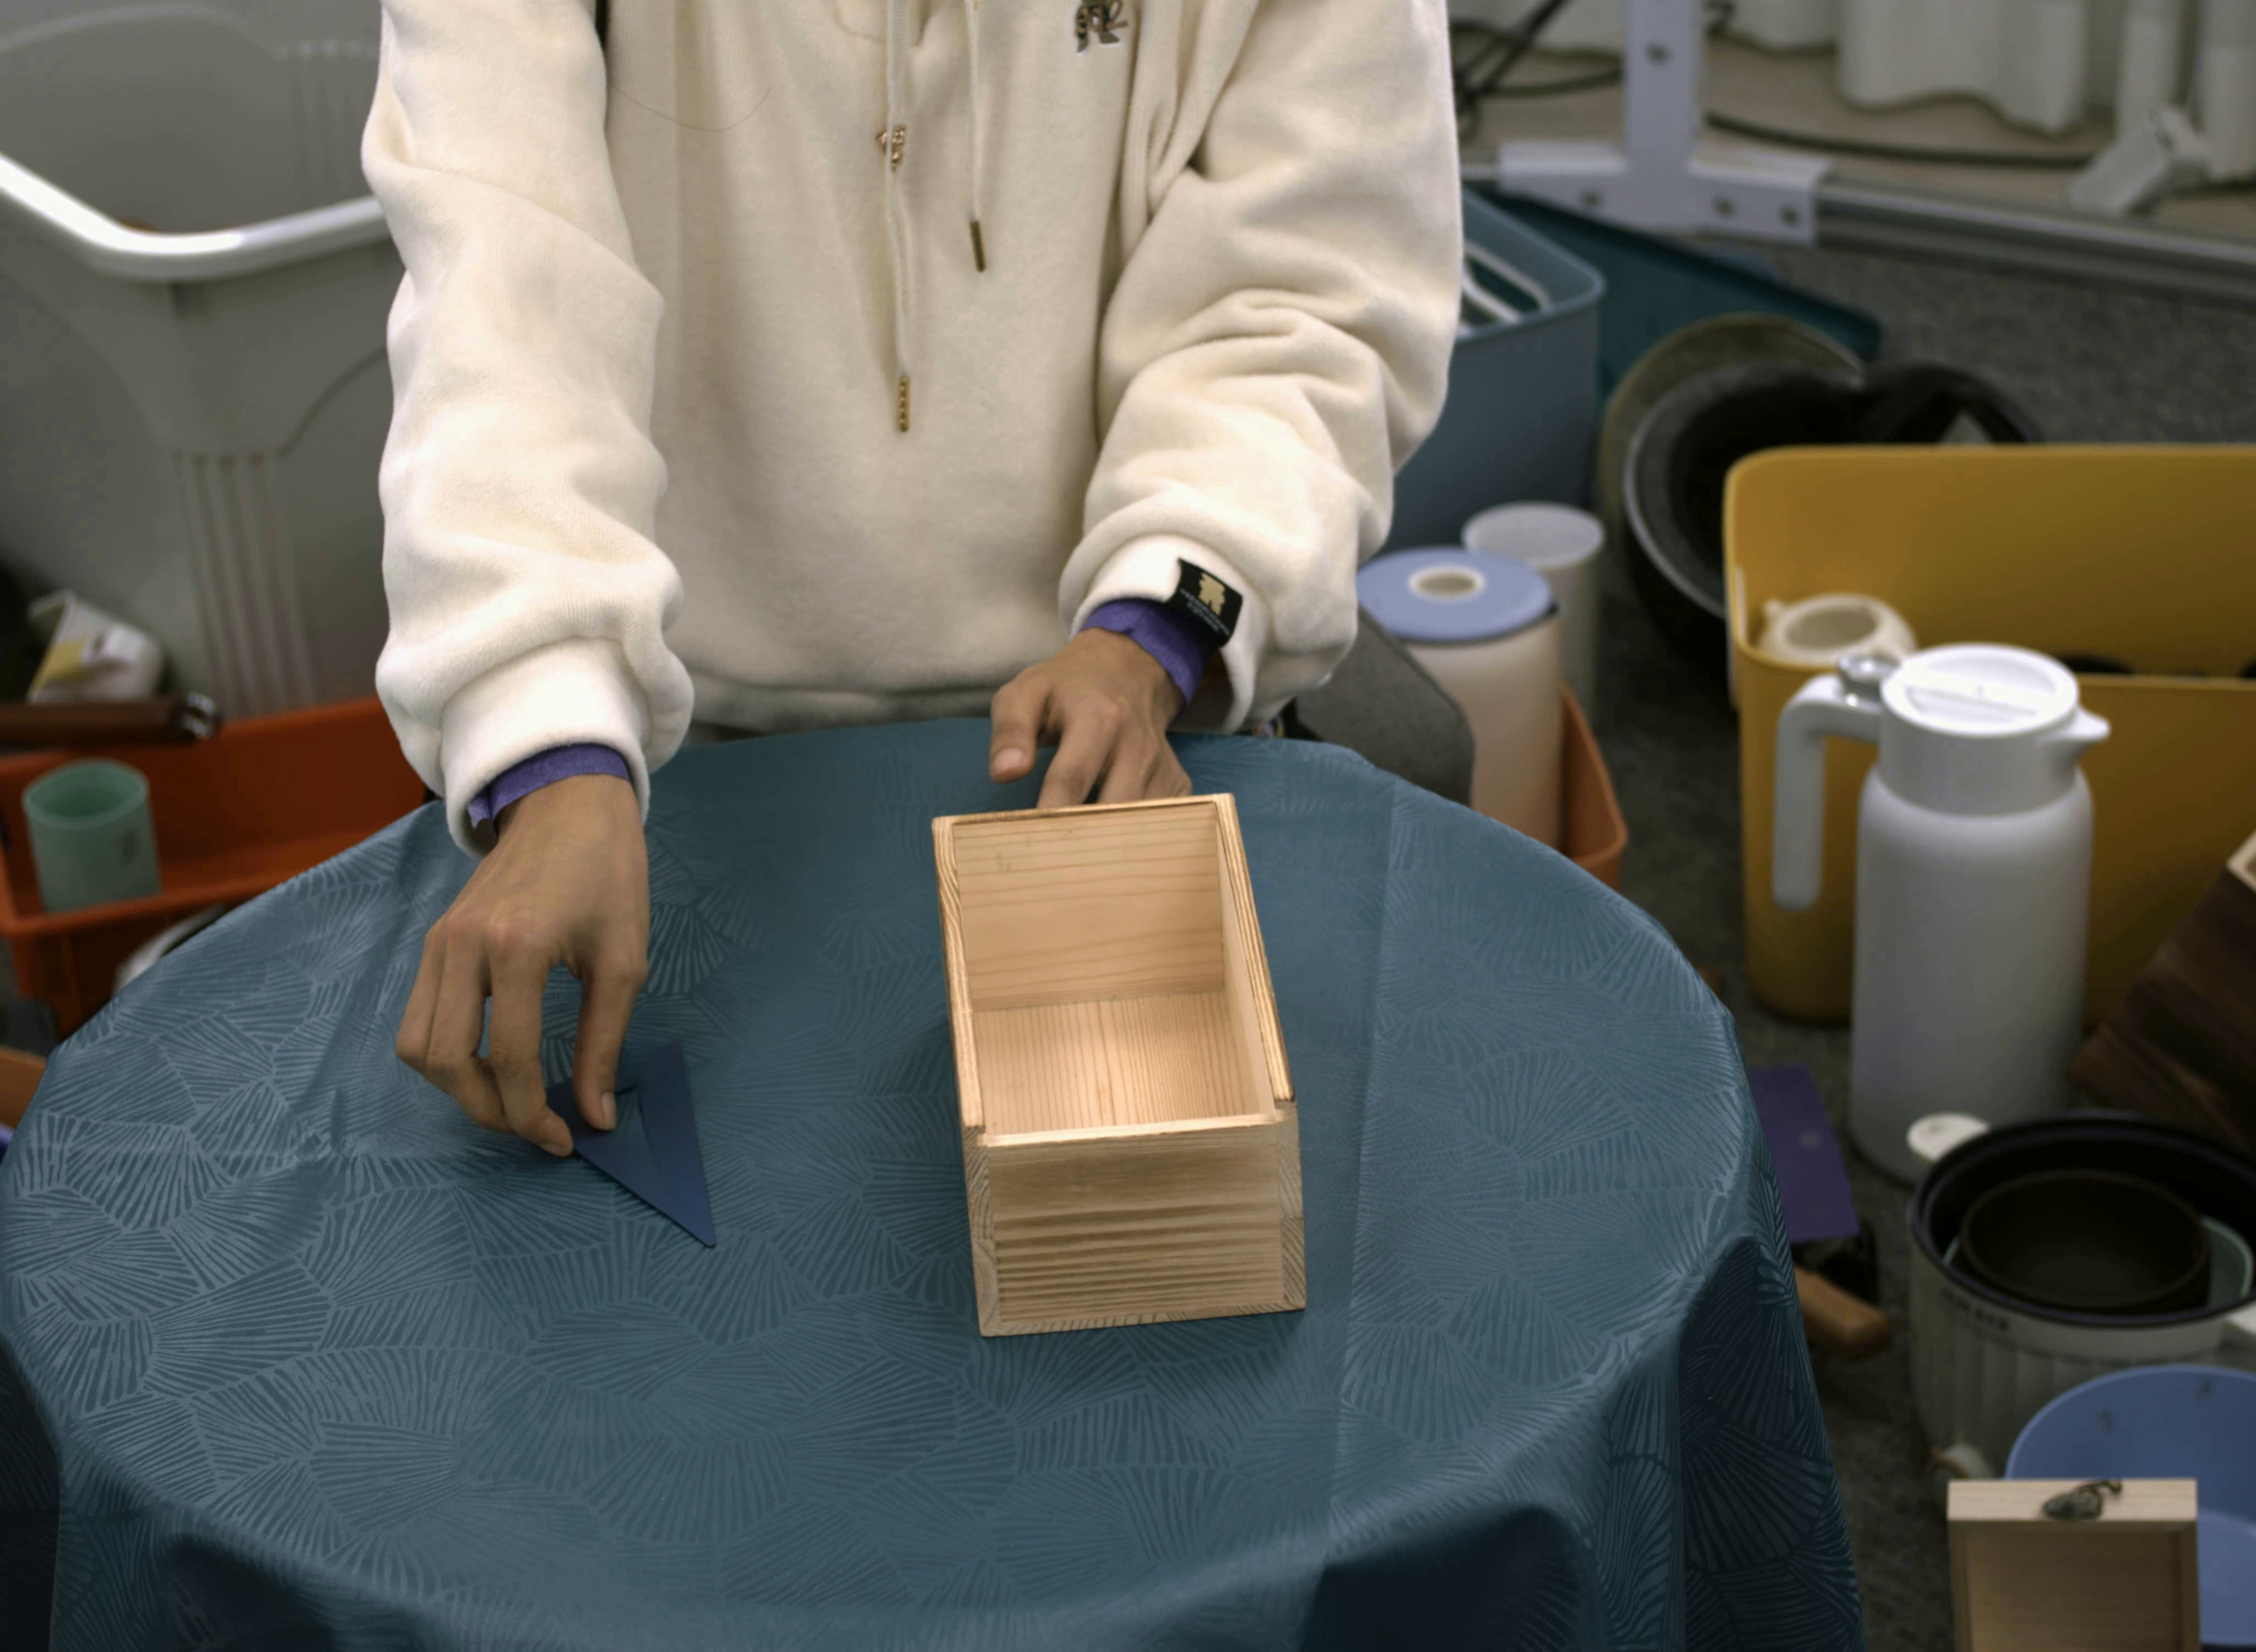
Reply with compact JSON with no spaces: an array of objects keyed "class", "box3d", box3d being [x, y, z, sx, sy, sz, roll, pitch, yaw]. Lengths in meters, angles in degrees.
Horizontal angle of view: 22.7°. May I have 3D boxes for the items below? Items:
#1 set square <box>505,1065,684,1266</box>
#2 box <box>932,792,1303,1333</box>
[{"class":"set square","box3d":[-0.180,0.113,1.888,0.061,0.006,0.134,0,27,-5]},{"class":"box","box3d":[-0.006,0.075,1.866,0.107,0.079,0.214,-4,28,-4]}]
